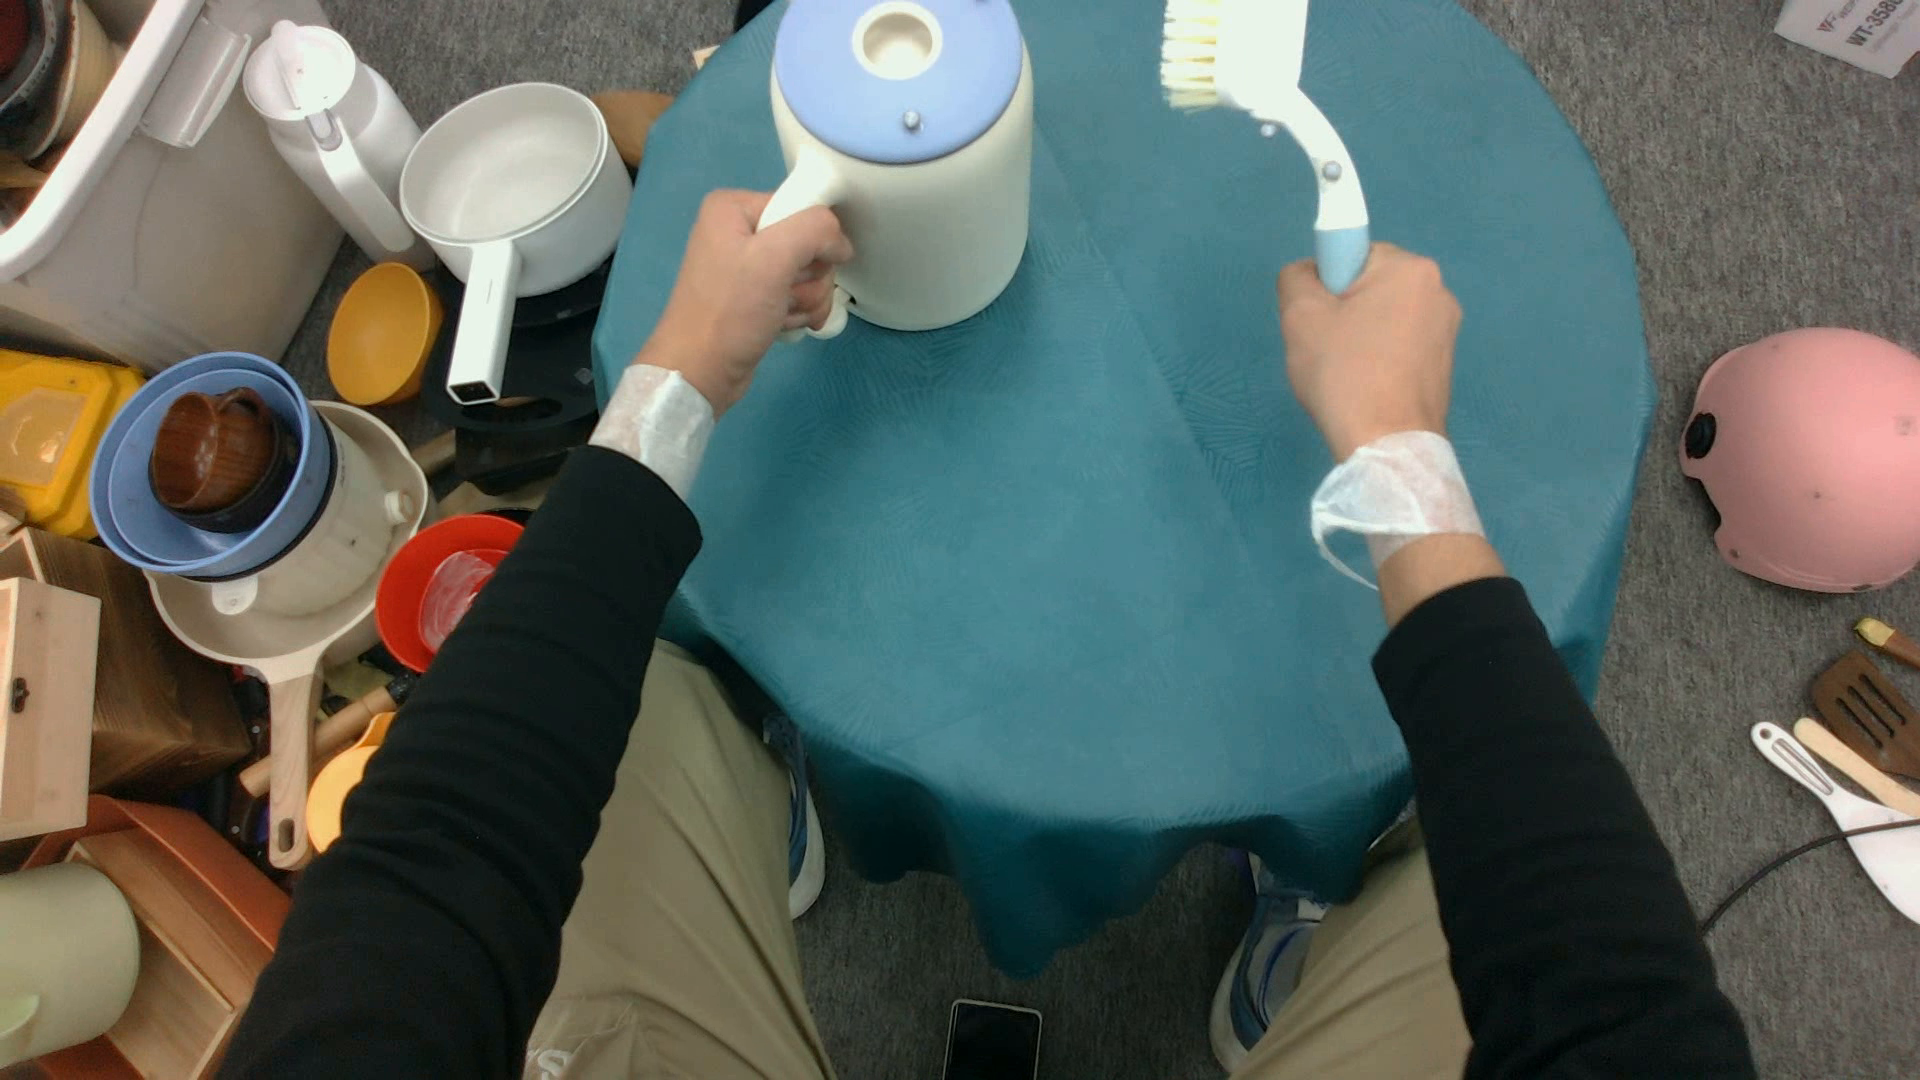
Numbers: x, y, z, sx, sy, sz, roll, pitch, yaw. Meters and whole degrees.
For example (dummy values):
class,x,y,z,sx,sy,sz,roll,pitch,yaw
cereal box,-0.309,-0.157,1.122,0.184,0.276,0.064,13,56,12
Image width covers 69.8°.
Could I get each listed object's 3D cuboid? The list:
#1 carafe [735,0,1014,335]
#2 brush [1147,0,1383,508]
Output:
class,x,y,z,sx,sy,sz,roll,pitch,yaw
carafe,-0.053,-0.193,0.728,0.132,0.182,0.191,36,77,11
brush,0.138,-0.170,0.662,0.083,0.084,0.324,-13,107,-8
